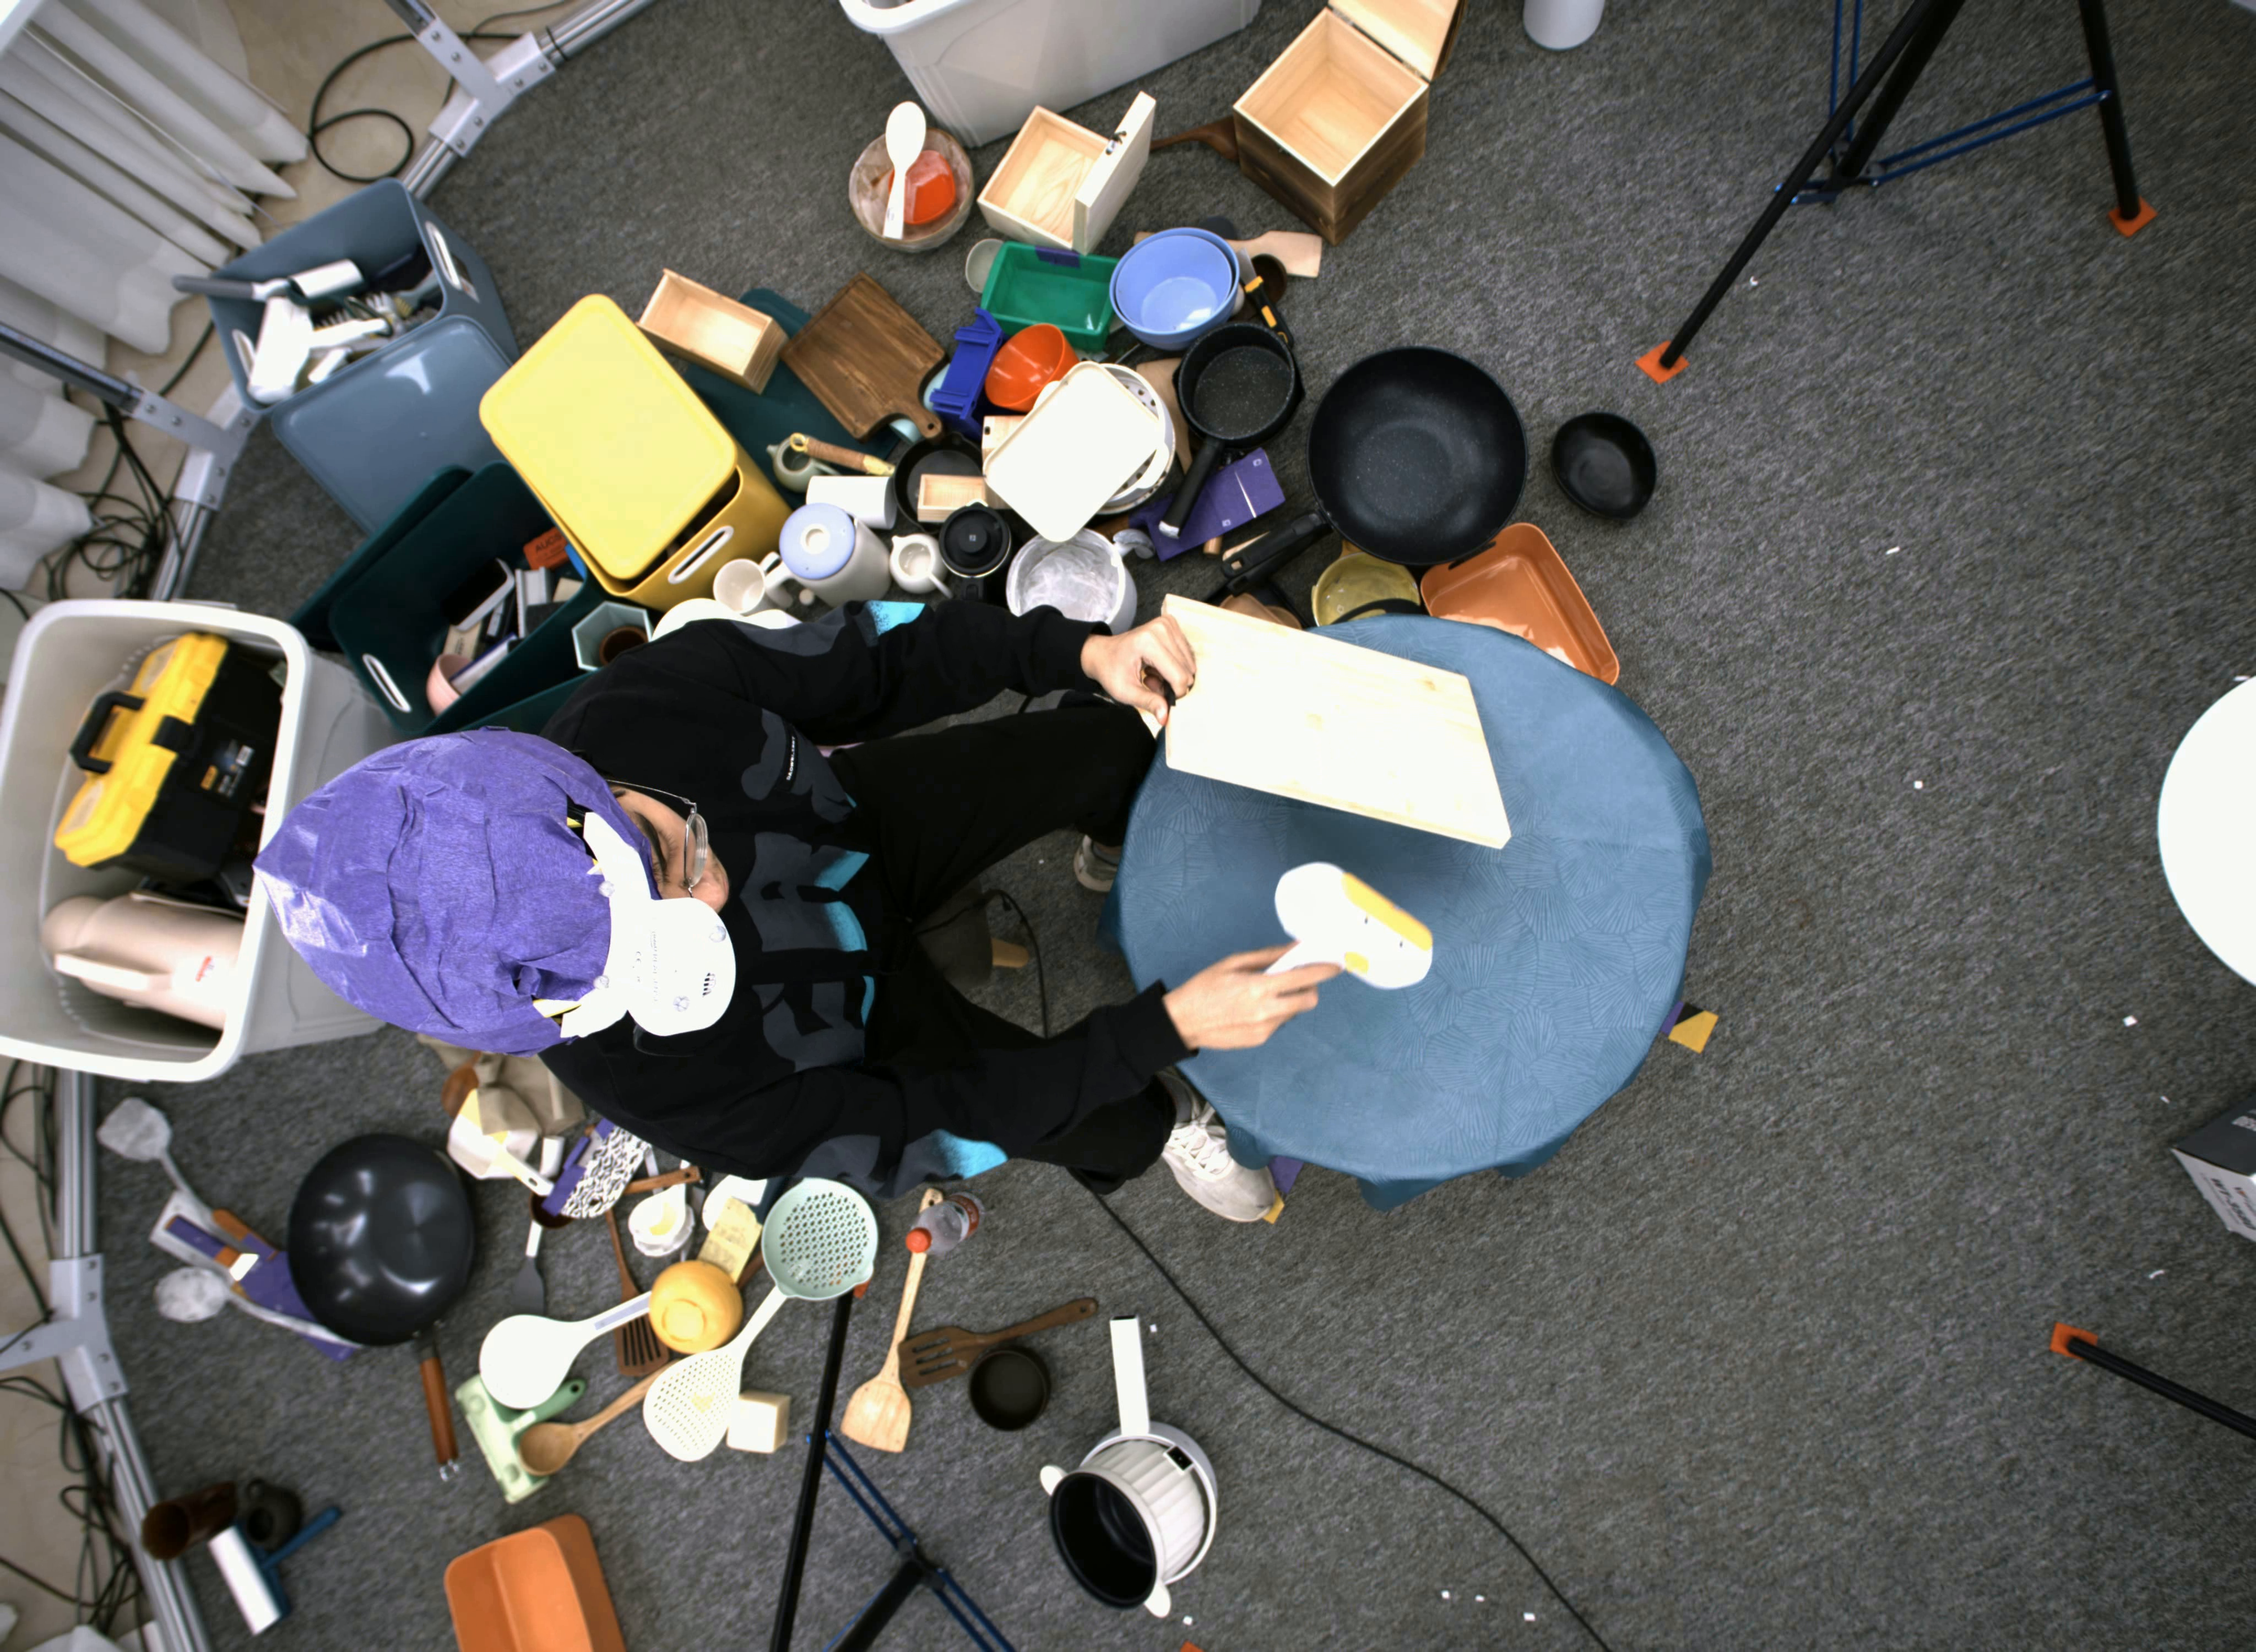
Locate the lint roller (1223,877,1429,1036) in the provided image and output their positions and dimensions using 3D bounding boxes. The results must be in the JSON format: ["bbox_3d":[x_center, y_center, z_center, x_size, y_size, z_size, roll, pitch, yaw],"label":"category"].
[{"bbox_3d":[0.161,0.131,1.281,0.196,0.193,0.072,-33,51,34],"label":"lint roller"}]

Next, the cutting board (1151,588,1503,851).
[{"bbox_3d":[0.189,-0.106,1.329,0.349,0.024,0.244,12,46,-14],"label":"cutting board"}]
